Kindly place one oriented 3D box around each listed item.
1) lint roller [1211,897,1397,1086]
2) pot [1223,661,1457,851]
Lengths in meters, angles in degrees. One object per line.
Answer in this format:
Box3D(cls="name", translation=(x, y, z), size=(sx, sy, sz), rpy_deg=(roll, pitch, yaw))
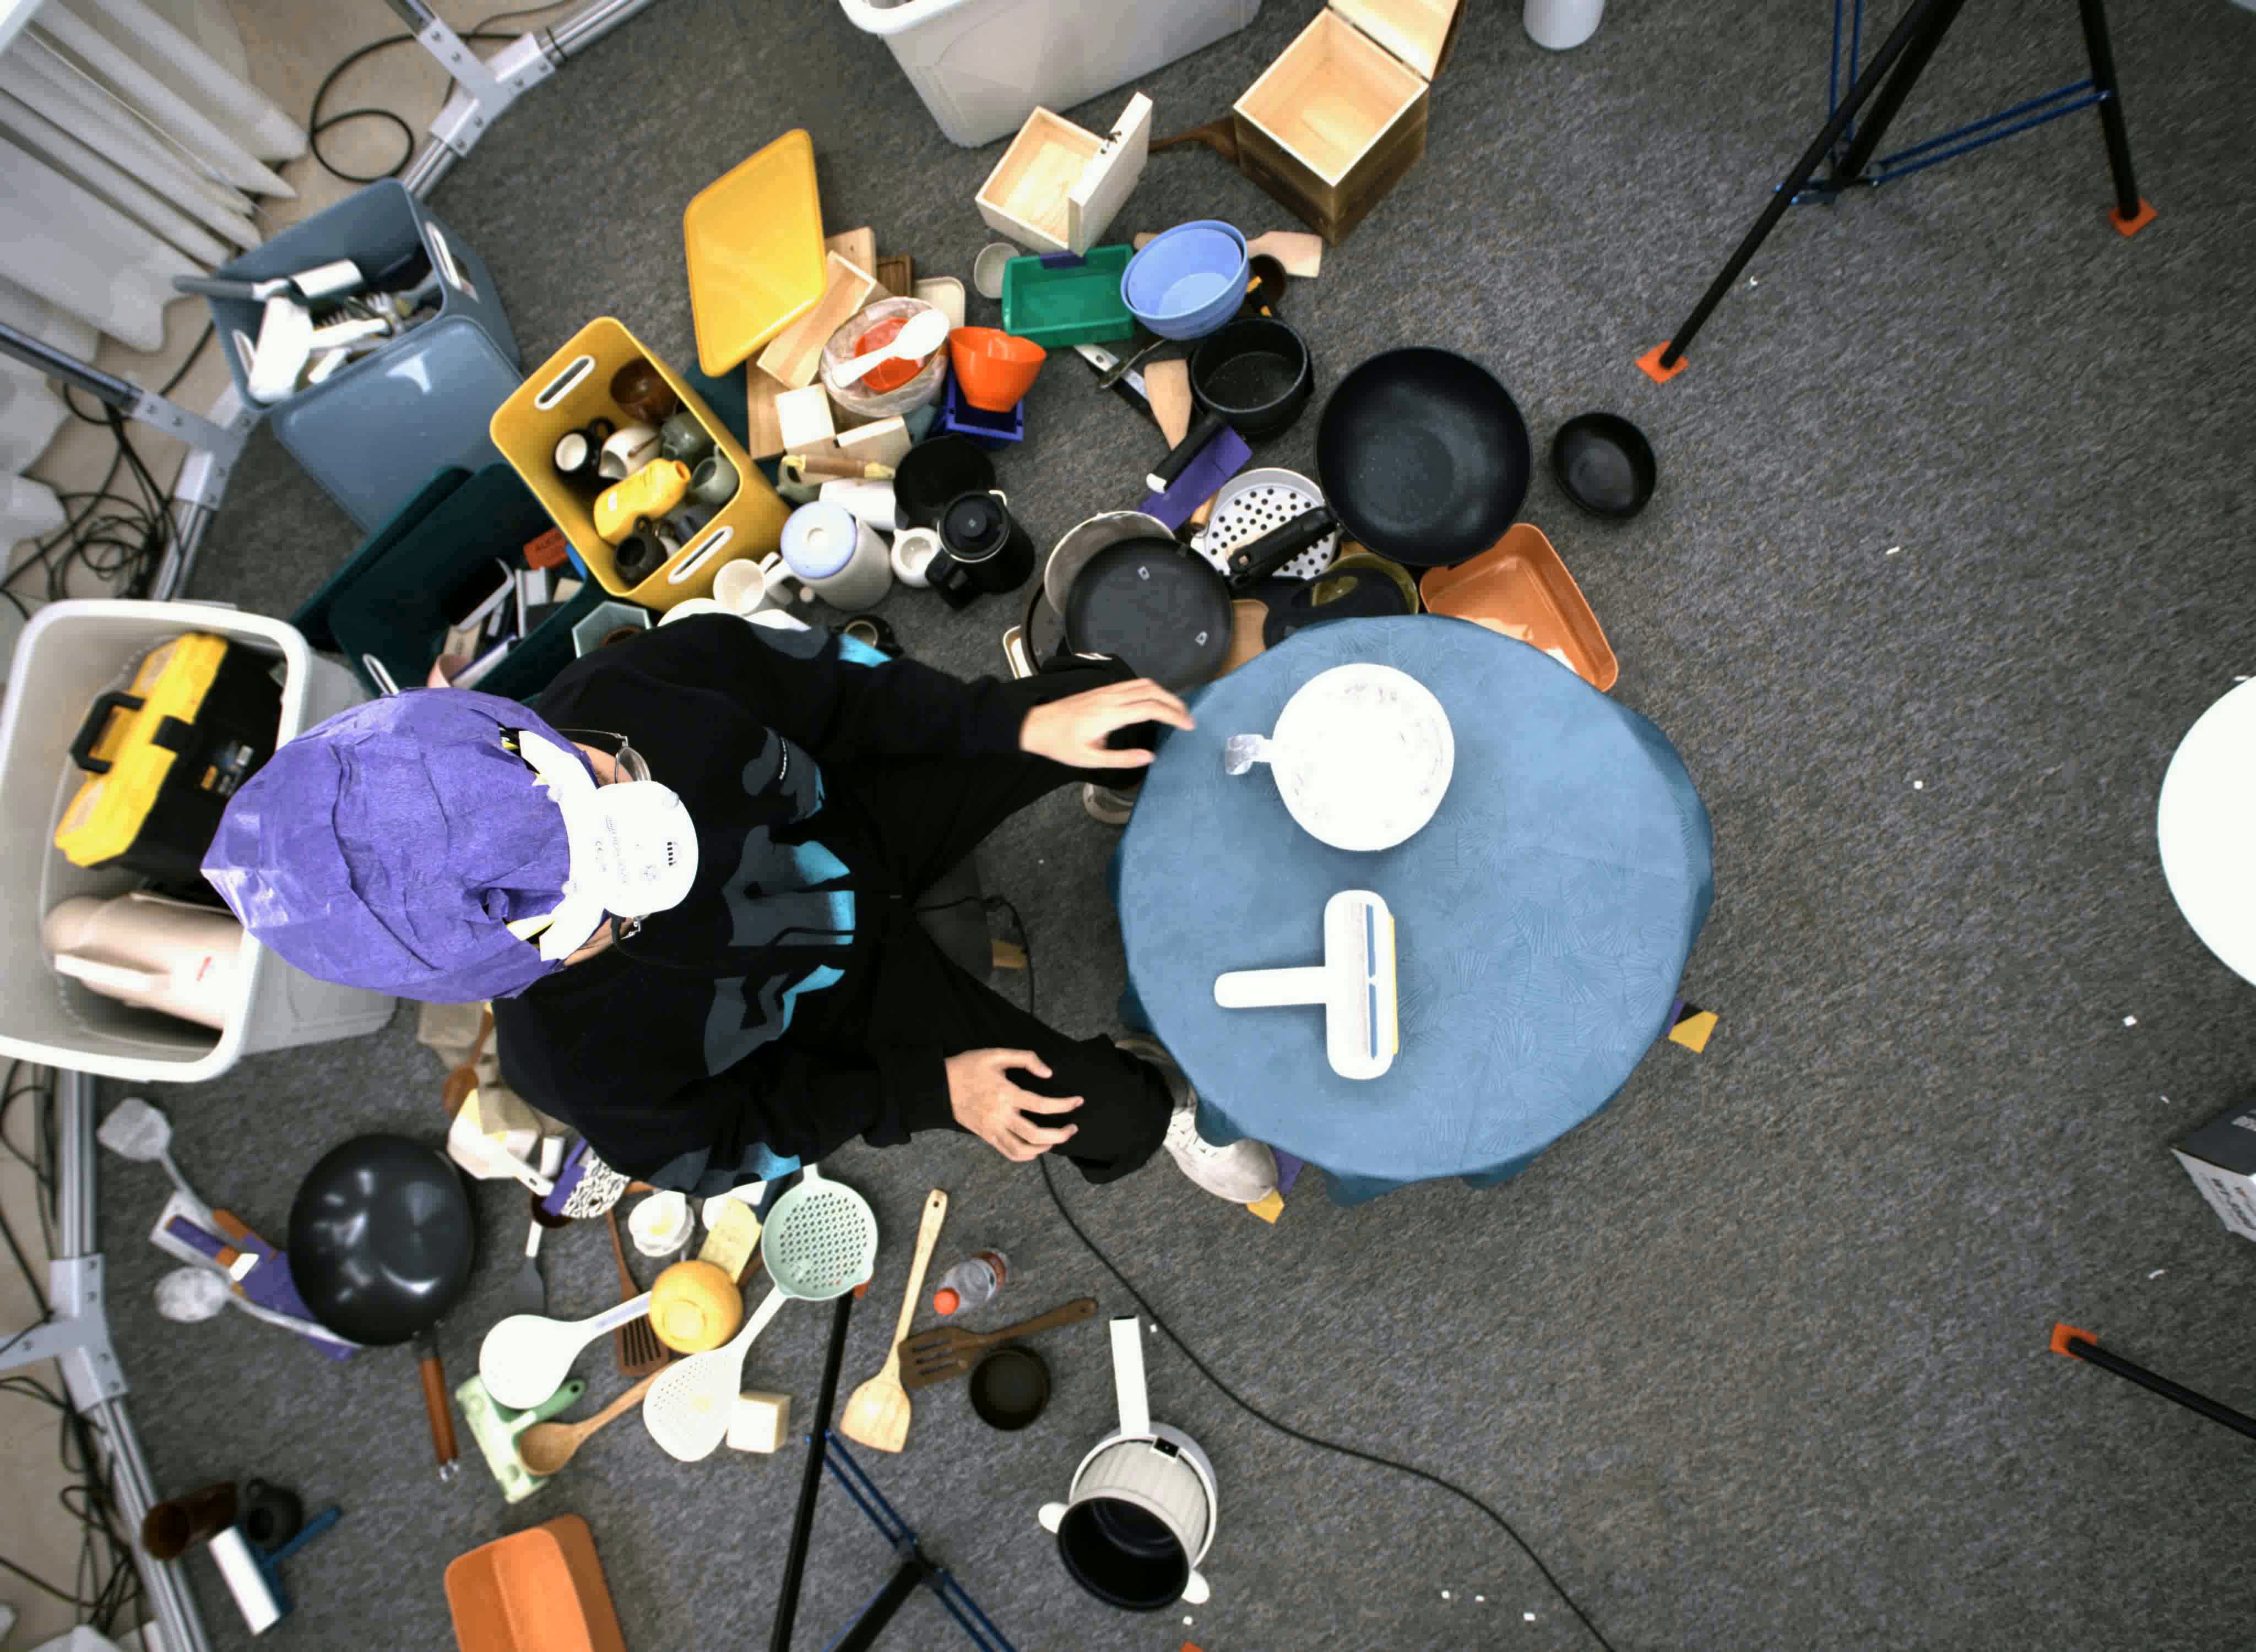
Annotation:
Box3D(cls="lint roller", translation=(0.179, 0.167, 1.433), size=(0.193, 0.074, 0.191), rpy_deg=(2, 82, 12))
Box3D(cls="pot", translation=(0.210, -0.069, 1.402), size=(0.234, 0.137, 0.178), rpy_deg=(4, 85, 9))
